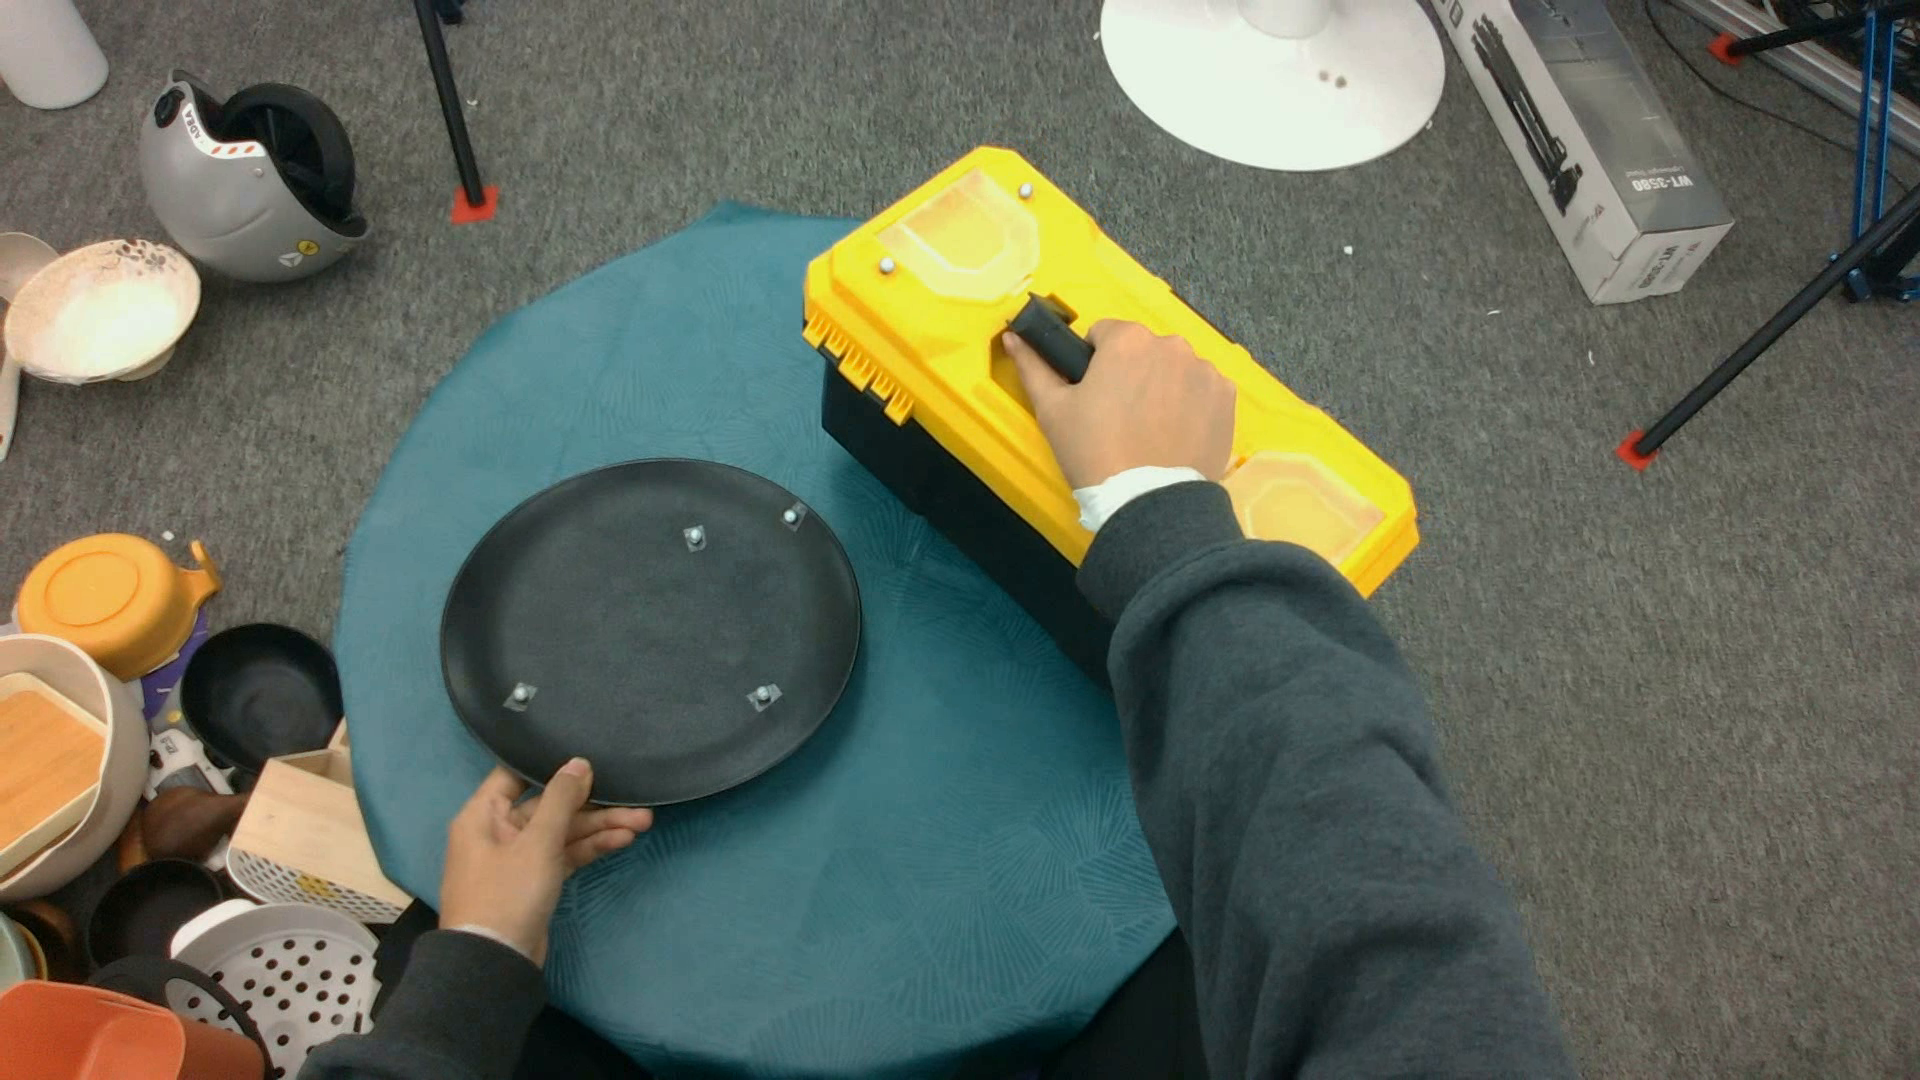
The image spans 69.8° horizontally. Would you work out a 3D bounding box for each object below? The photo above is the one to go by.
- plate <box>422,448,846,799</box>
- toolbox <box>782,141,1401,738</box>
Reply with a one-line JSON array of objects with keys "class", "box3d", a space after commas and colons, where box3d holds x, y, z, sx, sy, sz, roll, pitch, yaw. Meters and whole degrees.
[{"class": "plate", "box3d": [-0.190, 0.046, 0.822, 0.244, 0.023, 0.245, 4, 54, -5]}, {"class": "toolbox", "box3d": [0.065, -0.056, 0.813, 0.351, 0.172, 0.182, 43, 62, 13]}]
